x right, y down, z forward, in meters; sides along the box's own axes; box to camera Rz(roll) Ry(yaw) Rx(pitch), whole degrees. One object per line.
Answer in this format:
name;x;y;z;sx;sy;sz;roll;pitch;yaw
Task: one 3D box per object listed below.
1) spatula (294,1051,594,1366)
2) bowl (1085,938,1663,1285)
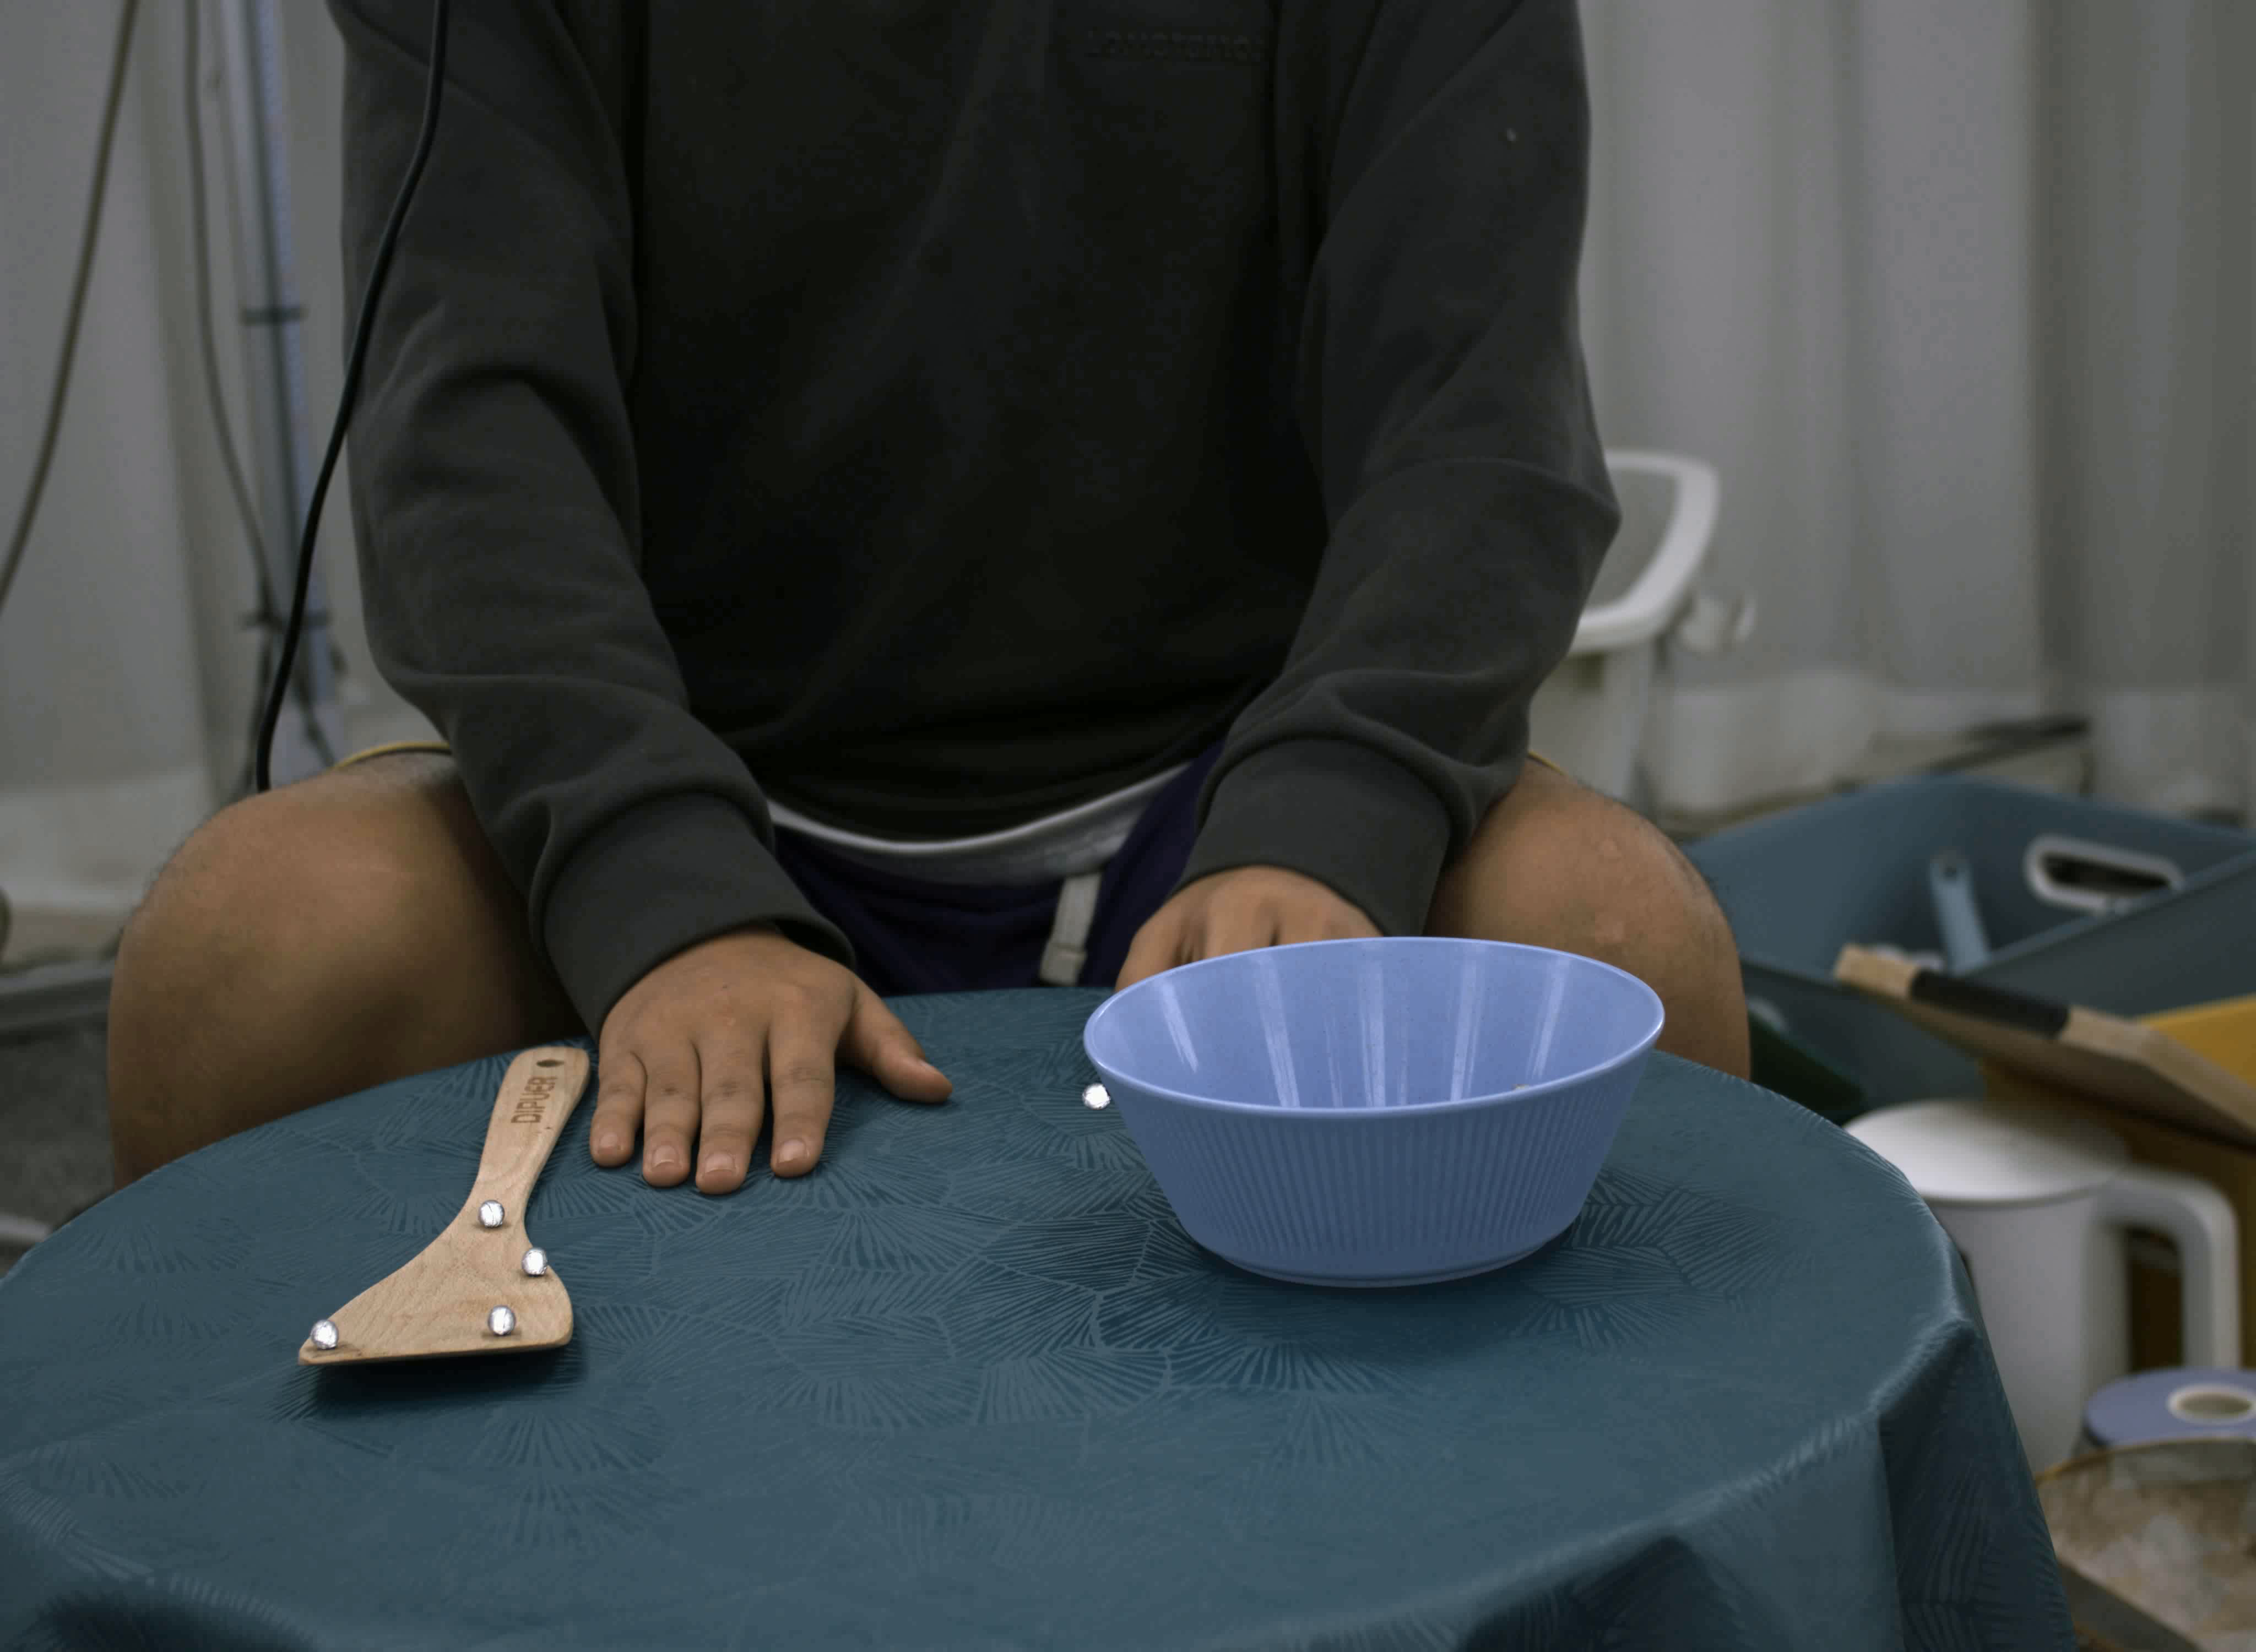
spatula;-0.197;0.117;1.716;0.080;0.016;0.330;-3;15;2
bowl;0.075;0.089;1.662;0.175;0.070;0.177;-3;15;0
